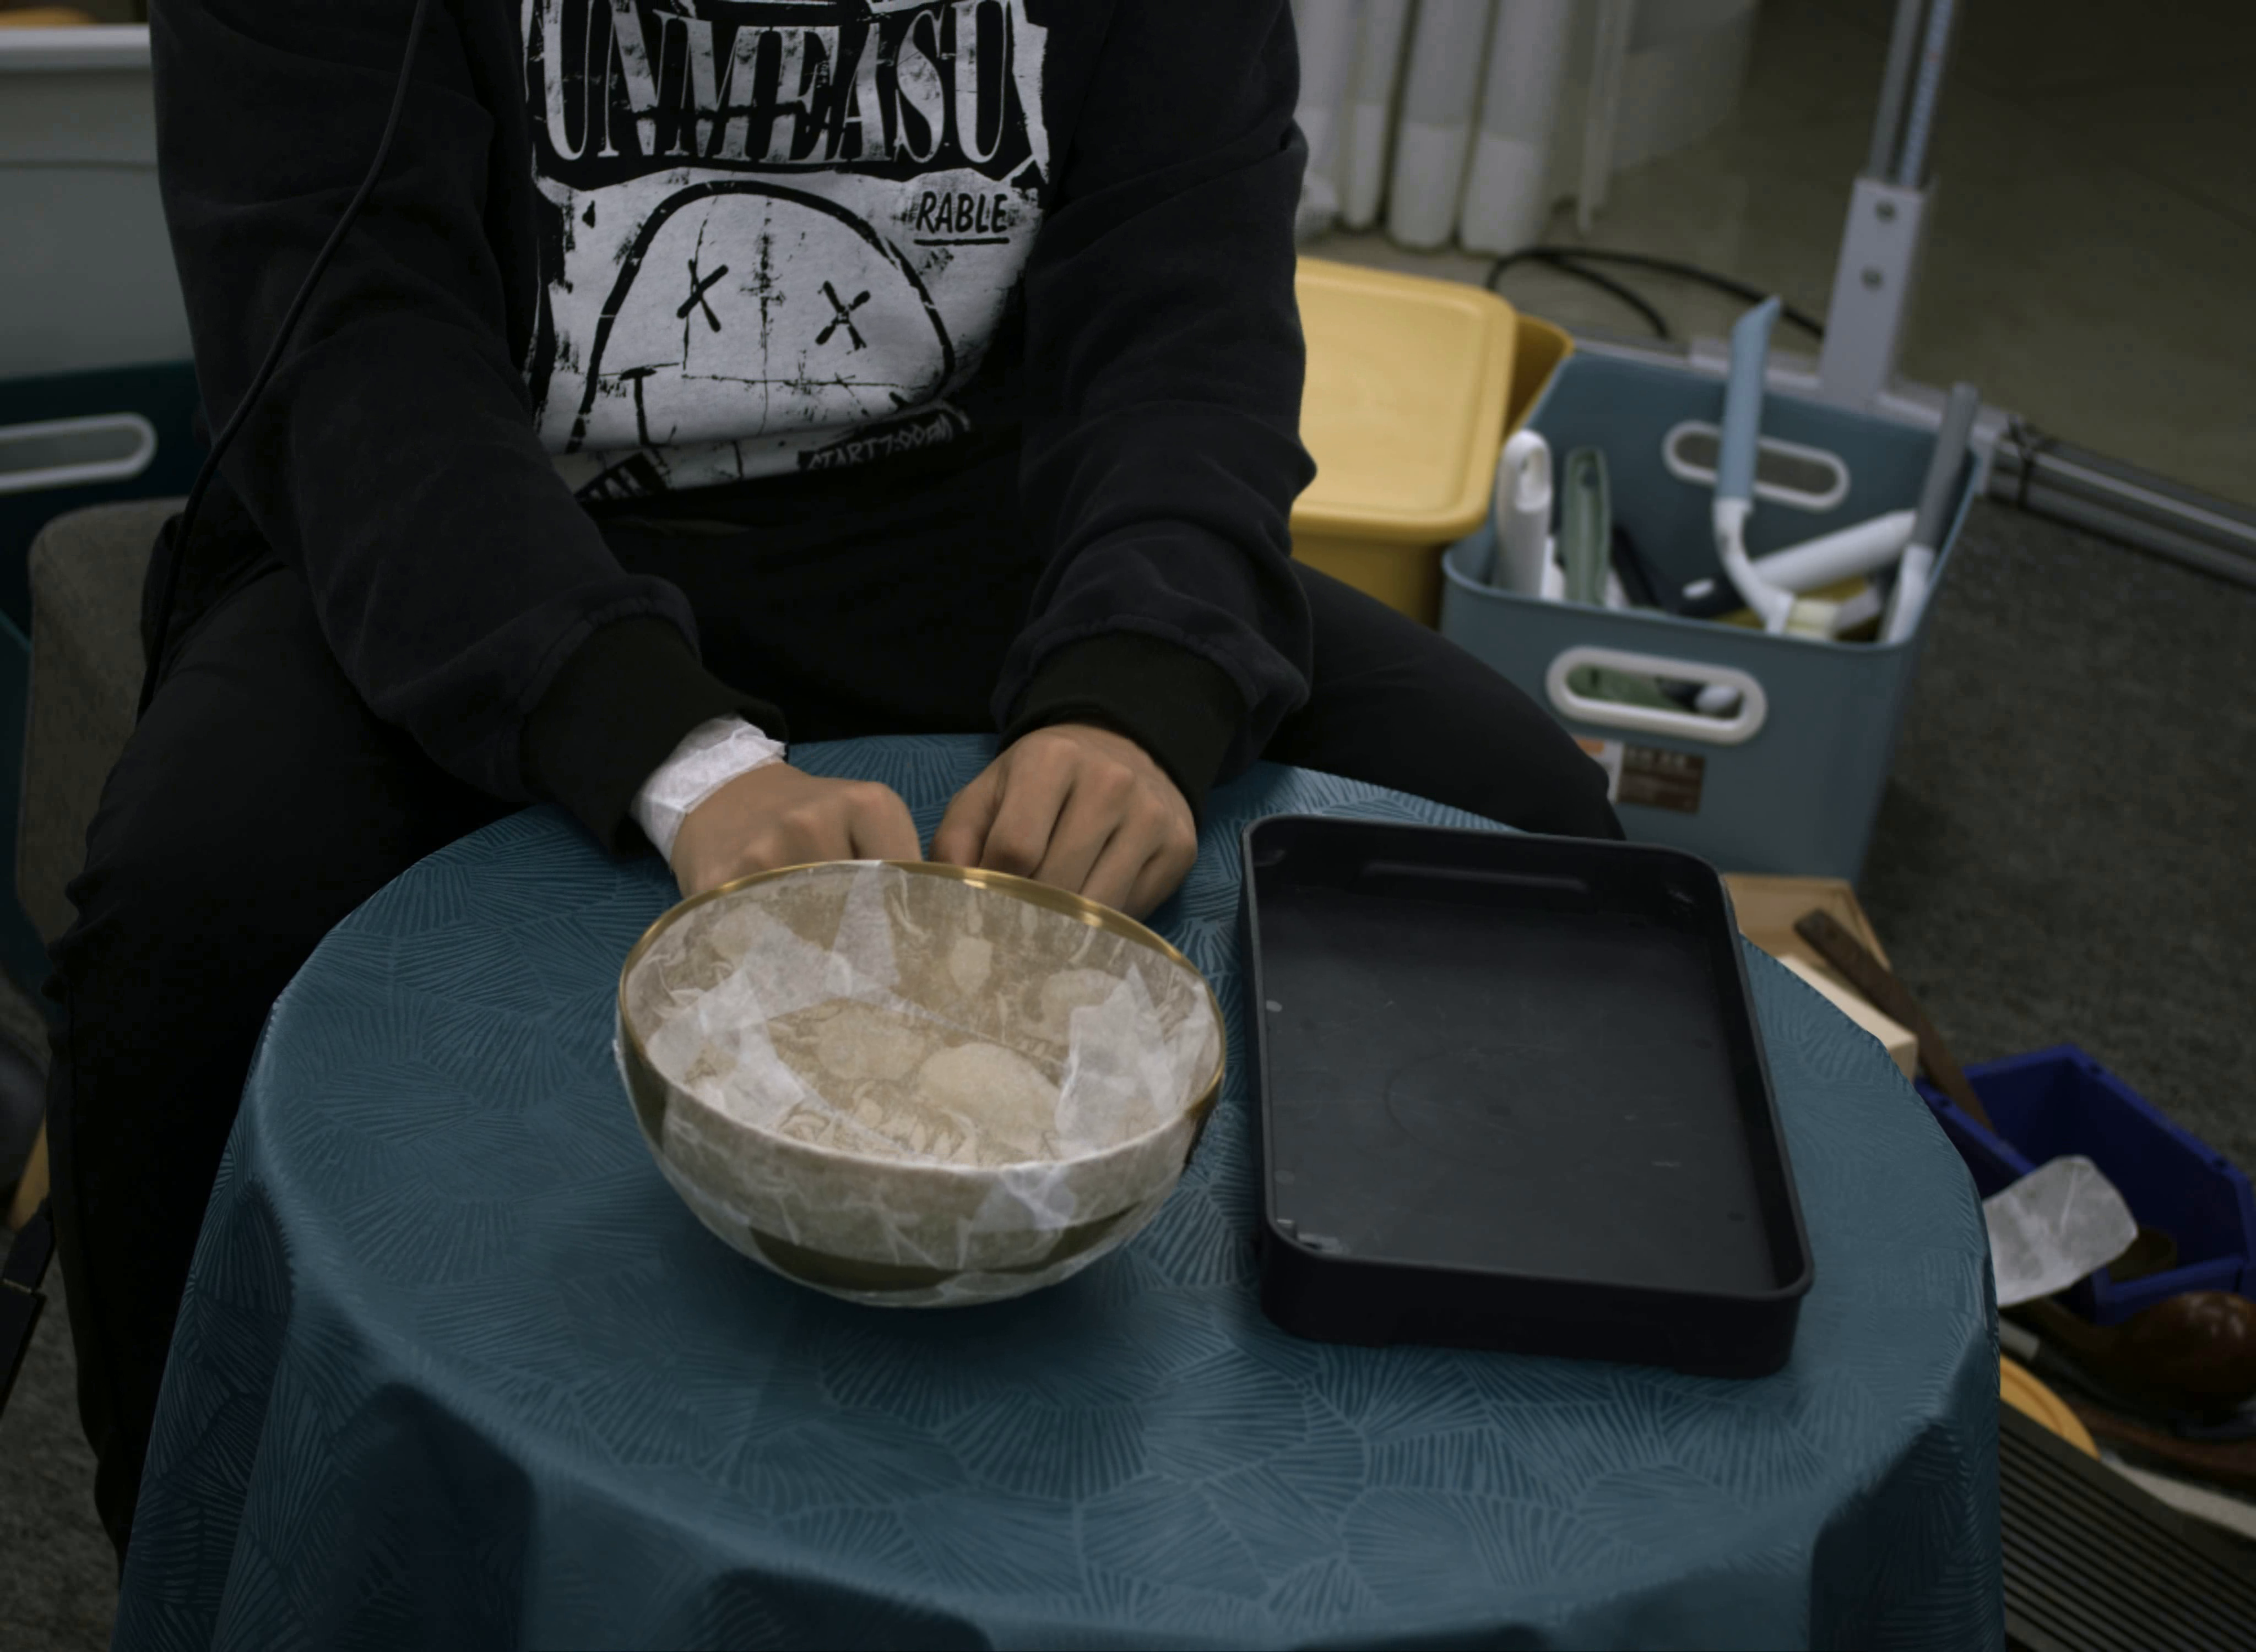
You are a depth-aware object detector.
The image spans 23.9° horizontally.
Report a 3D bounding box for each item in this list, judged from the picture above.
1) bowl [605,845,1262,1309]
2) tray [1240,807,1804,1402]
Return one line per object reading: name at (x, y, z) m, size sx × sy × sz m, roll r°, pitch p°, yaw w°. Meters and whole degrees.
bowl at (-0.068, 0.095, 1.739) m, size 0.214 × 0.094 × 0.216 m, roll 4°, pitch 27°, yaw -2°
tray at (0.131, 0.091, 1.861) m, size 0.184 × 0.037 × 0.320 m, roll 7°, pitch 28°, yaw -2°
